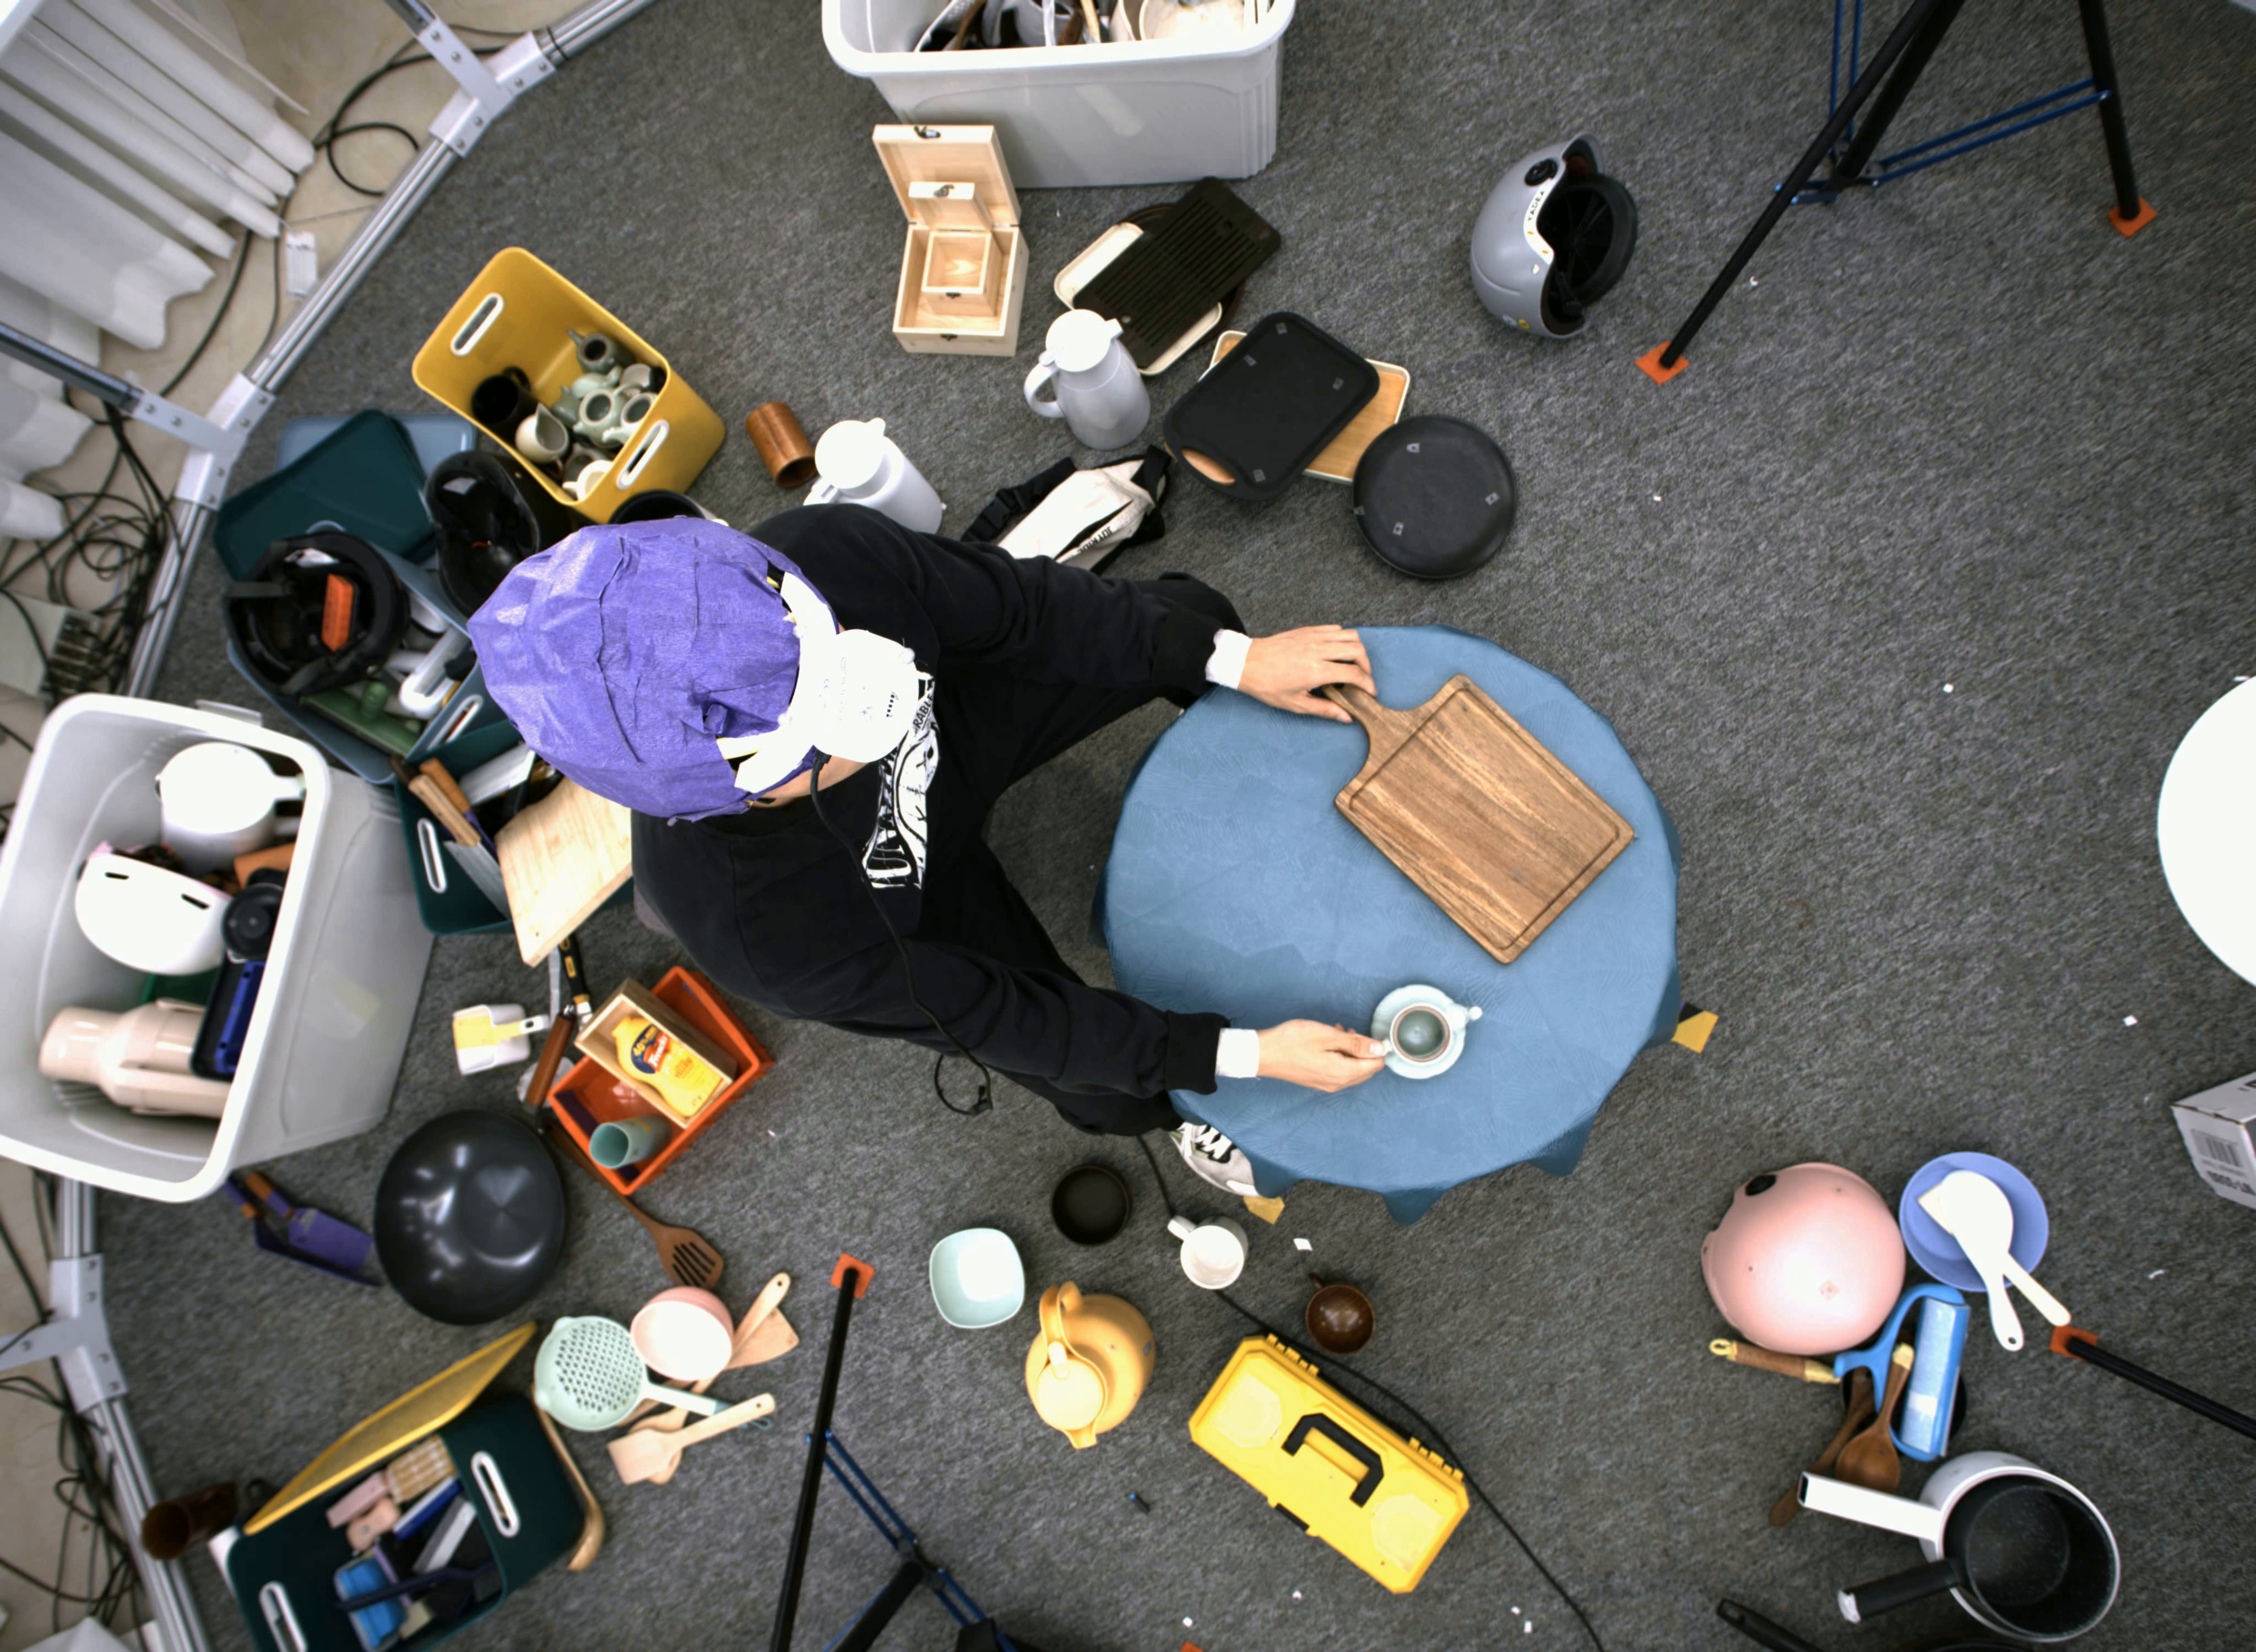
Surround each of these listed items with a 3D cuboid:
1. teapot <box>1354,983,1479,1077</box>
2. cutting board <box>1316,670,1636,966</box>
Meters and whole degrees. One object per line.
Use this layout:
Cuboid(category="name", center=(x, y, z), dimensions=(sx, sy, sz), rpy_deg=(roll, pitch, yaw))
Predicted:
Cuboid(category="teapot", center=(0.294, 0.211, 1.418), dimensions=(0.137, 0.061, 0.096), rpy_deg=(-25, 86, 6))
Cuboid(category="cutting board", center=(0.334, -0.043, 1.442), dimensions=(0.351, 0.023, 0.202), rpy_deg=(44, 95, 9))
